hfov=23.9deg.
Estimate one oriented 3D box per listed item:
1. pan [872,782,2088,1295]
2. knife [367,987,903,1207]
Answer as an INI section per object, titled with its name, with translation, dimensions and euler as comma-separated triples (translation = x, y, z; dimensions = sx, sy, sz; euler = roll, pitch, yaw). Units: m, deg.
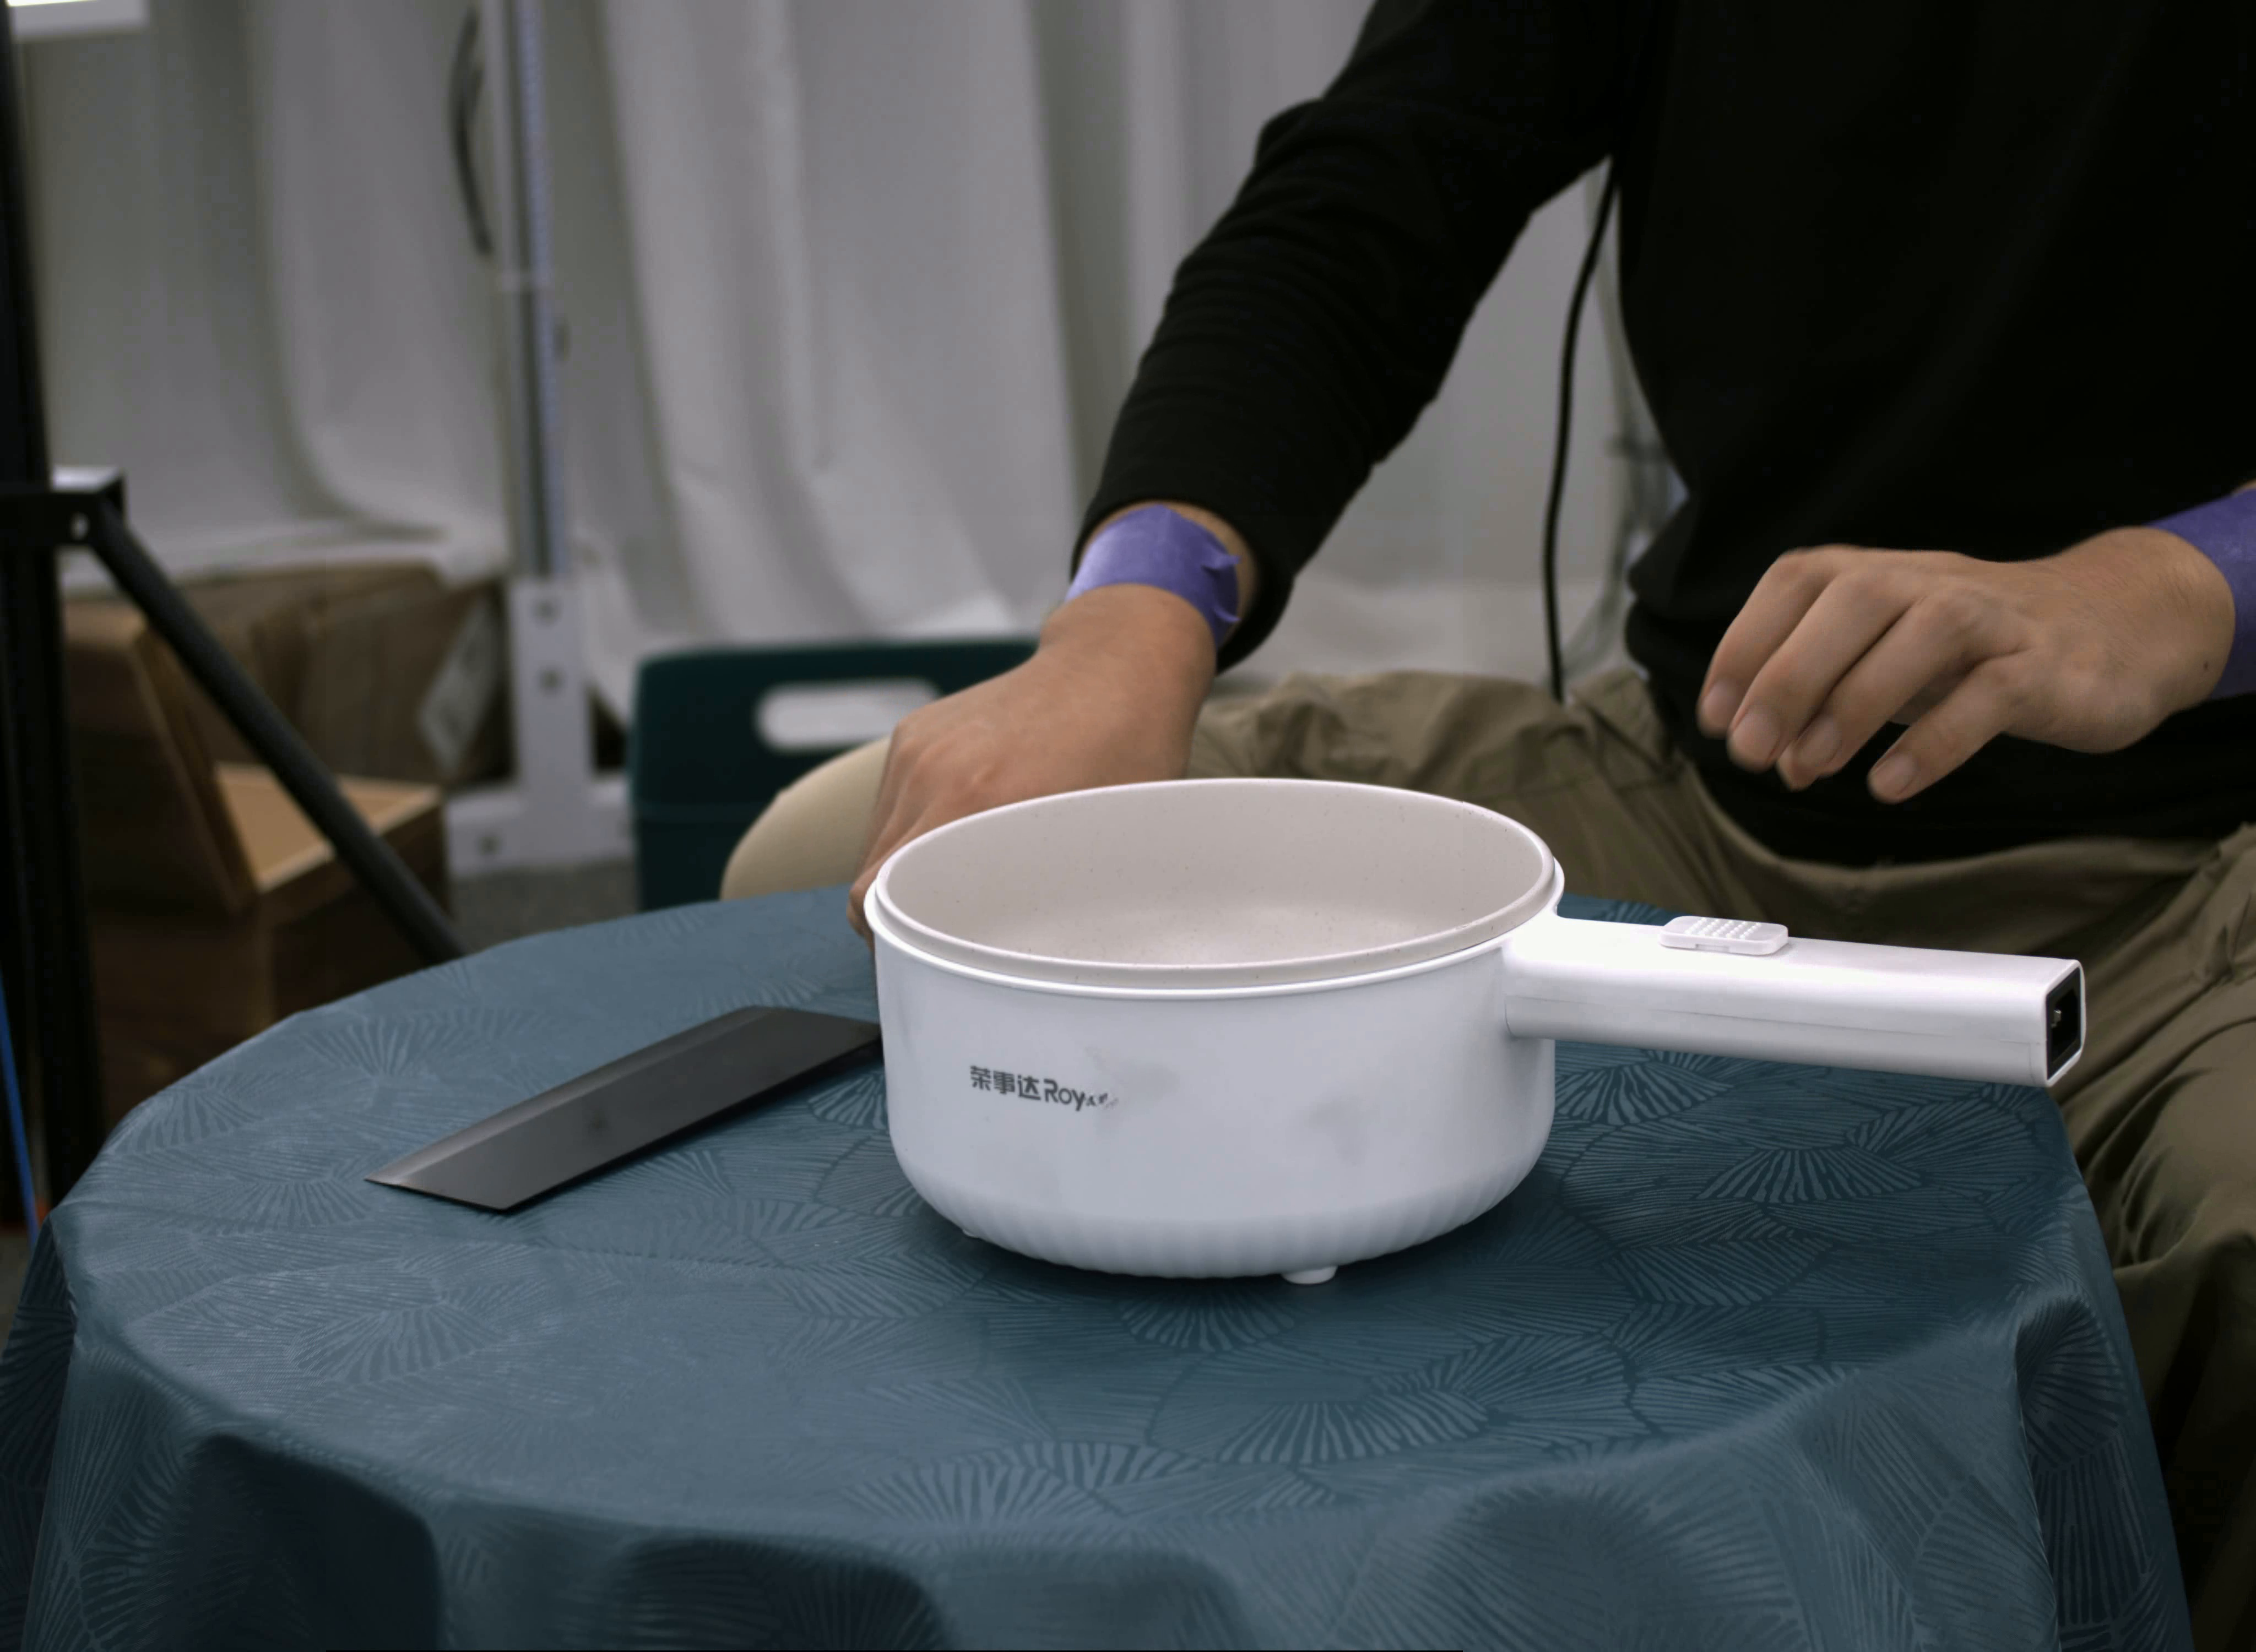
[pan]
translation = 0.096, 0.071, 1.496
dimensions = 0.361, 0.102, 0.198
euler = 7, 18, 28
[knife]
translation = -0.111, 0.070, 1.684
dimensions = 0.083, 0.021, 0.296
euler = 11, 23, 44
